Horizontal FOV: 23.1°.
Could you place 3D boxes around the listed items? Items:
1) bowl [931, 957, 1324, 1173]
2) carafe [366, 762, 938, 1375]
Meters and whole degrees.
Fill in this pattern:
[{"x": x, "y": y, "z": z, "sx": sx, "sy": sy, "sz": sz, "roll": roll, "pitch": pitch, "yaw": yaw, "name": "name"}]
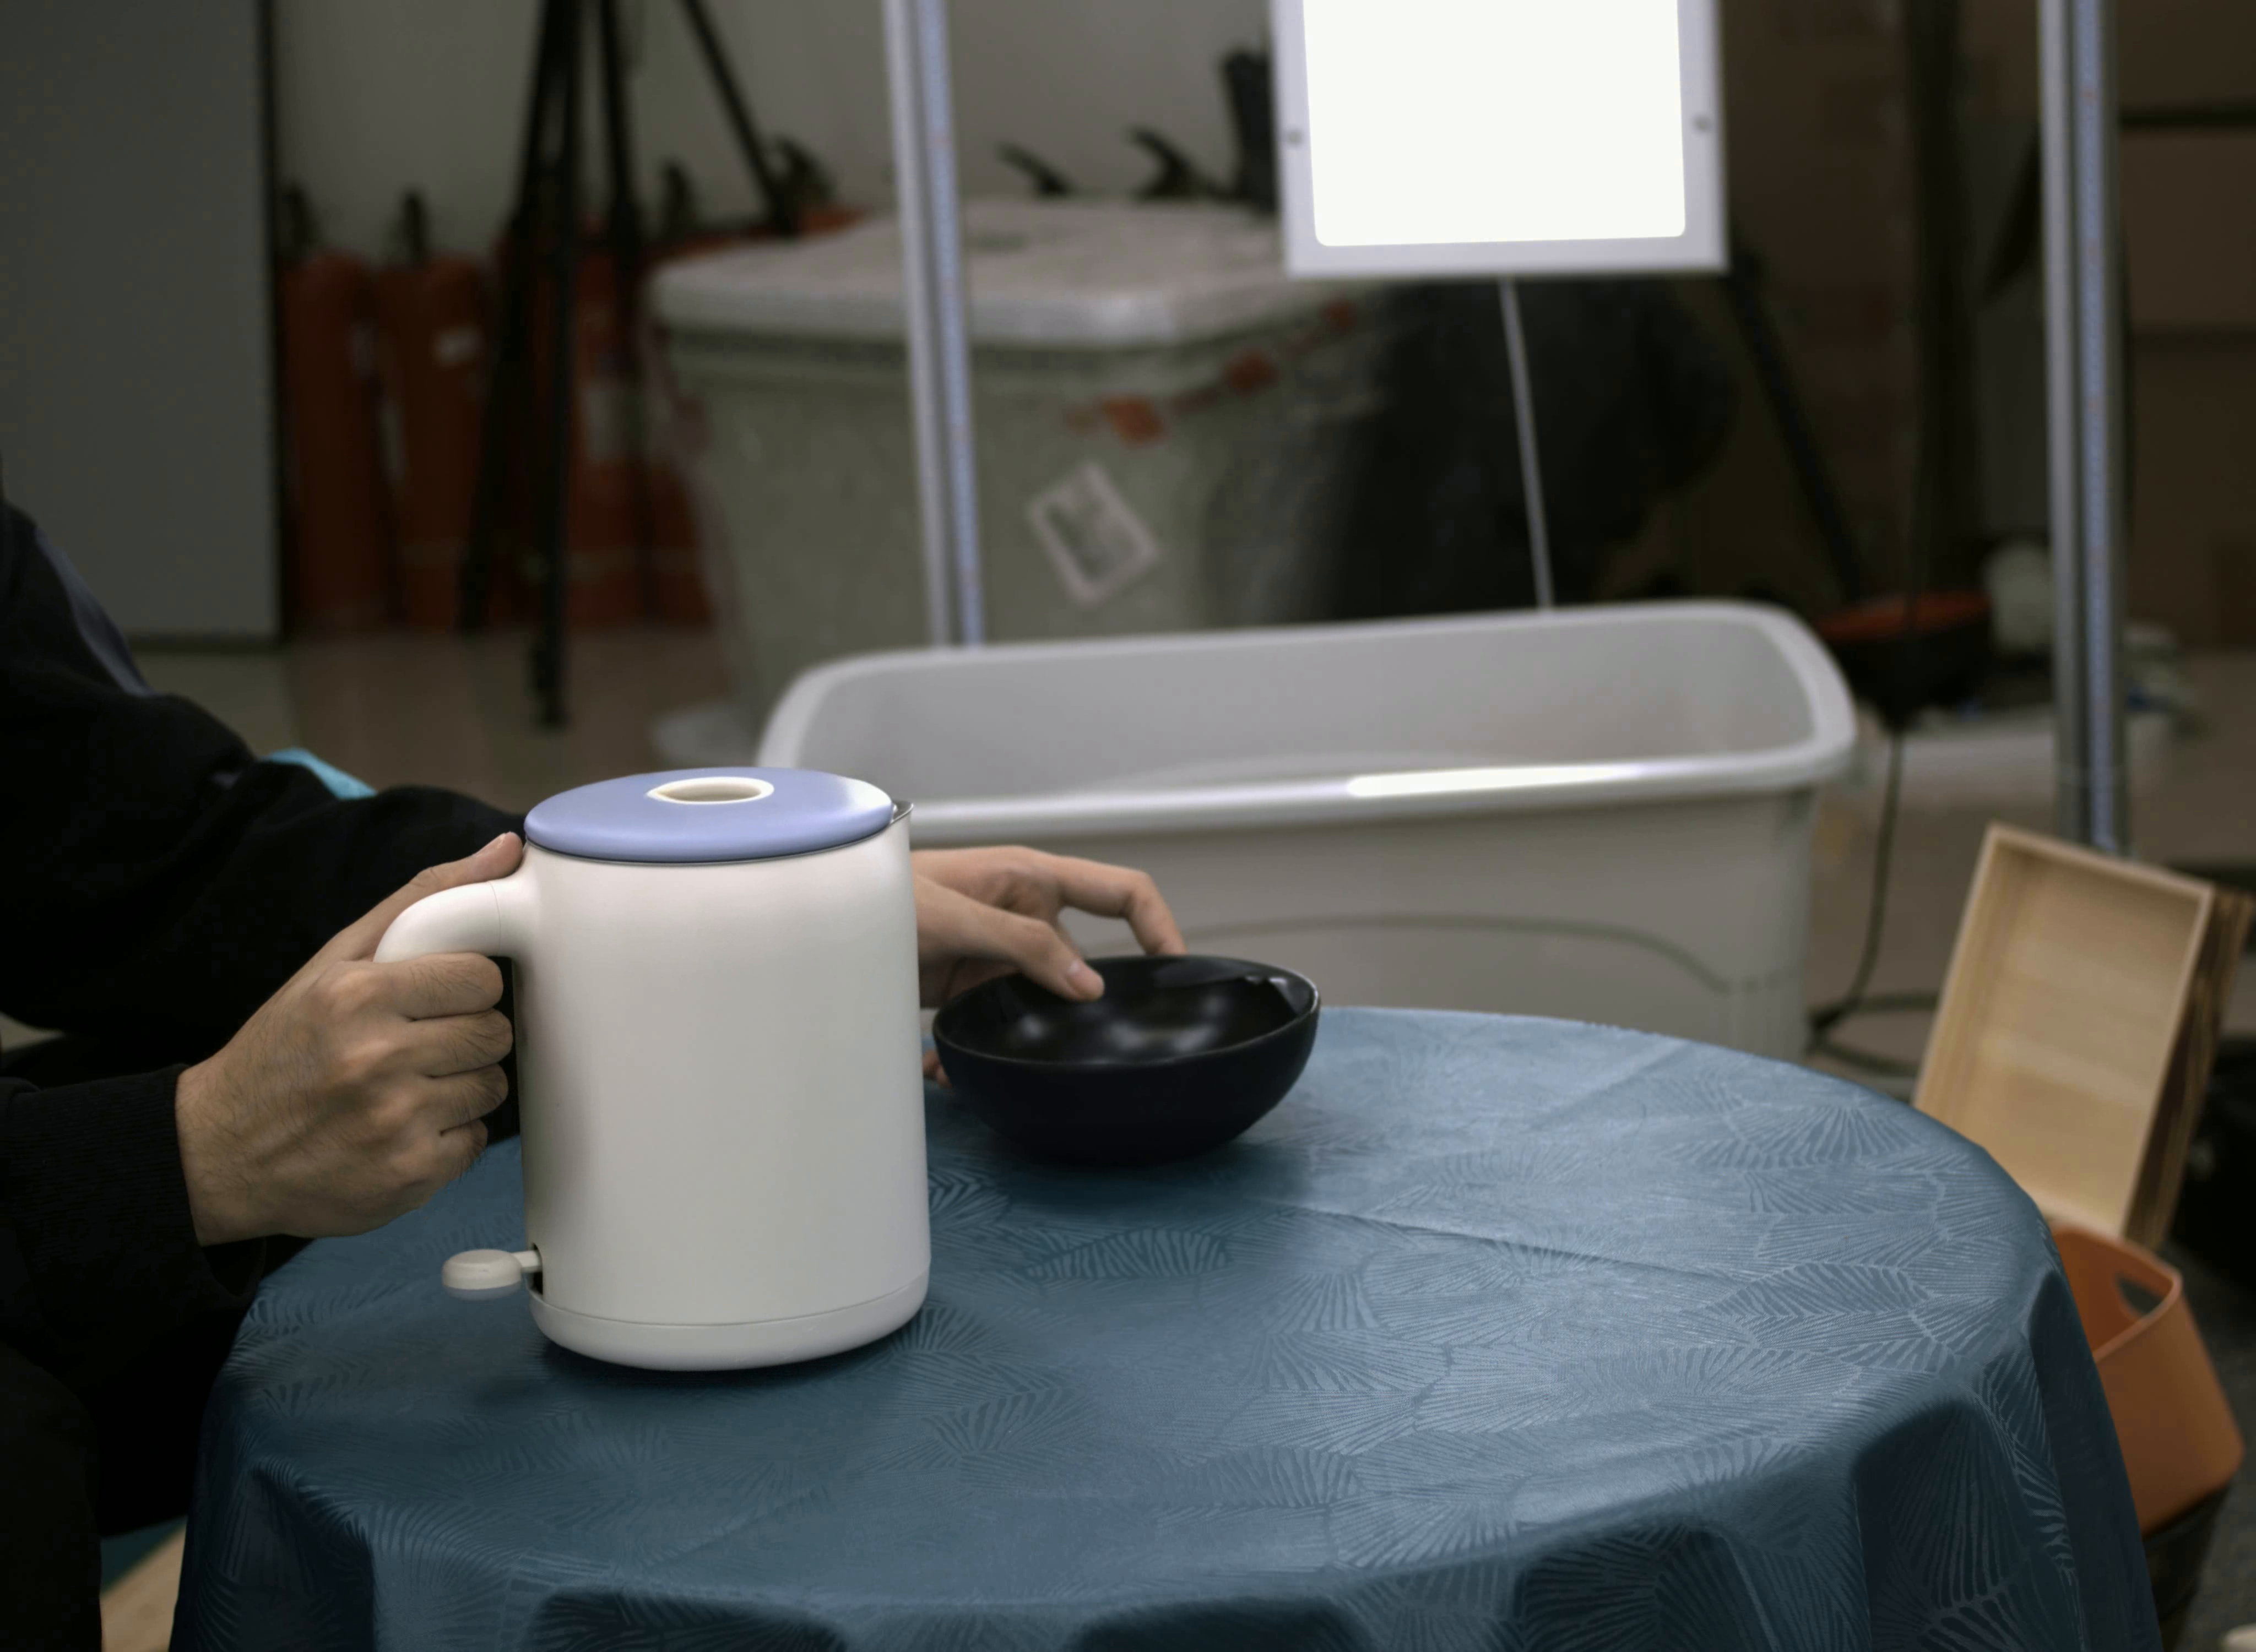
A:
[{"x": 0.002, "y": 0.089, "z": 1.949, "sx": 0.140, "sy": 0.050, "sz": 0.140, "roll": -7, "pitch": 14, "yaw": 0, "name": "bowl"}, {"x": -0.153, "y": 0.080, "z": 1.765, "sx": 0.187, "sy": 0.183, "sz": 0.134, "roll": -10, "pitch": 12, "yaw": -20, "name": "carafe"}]
